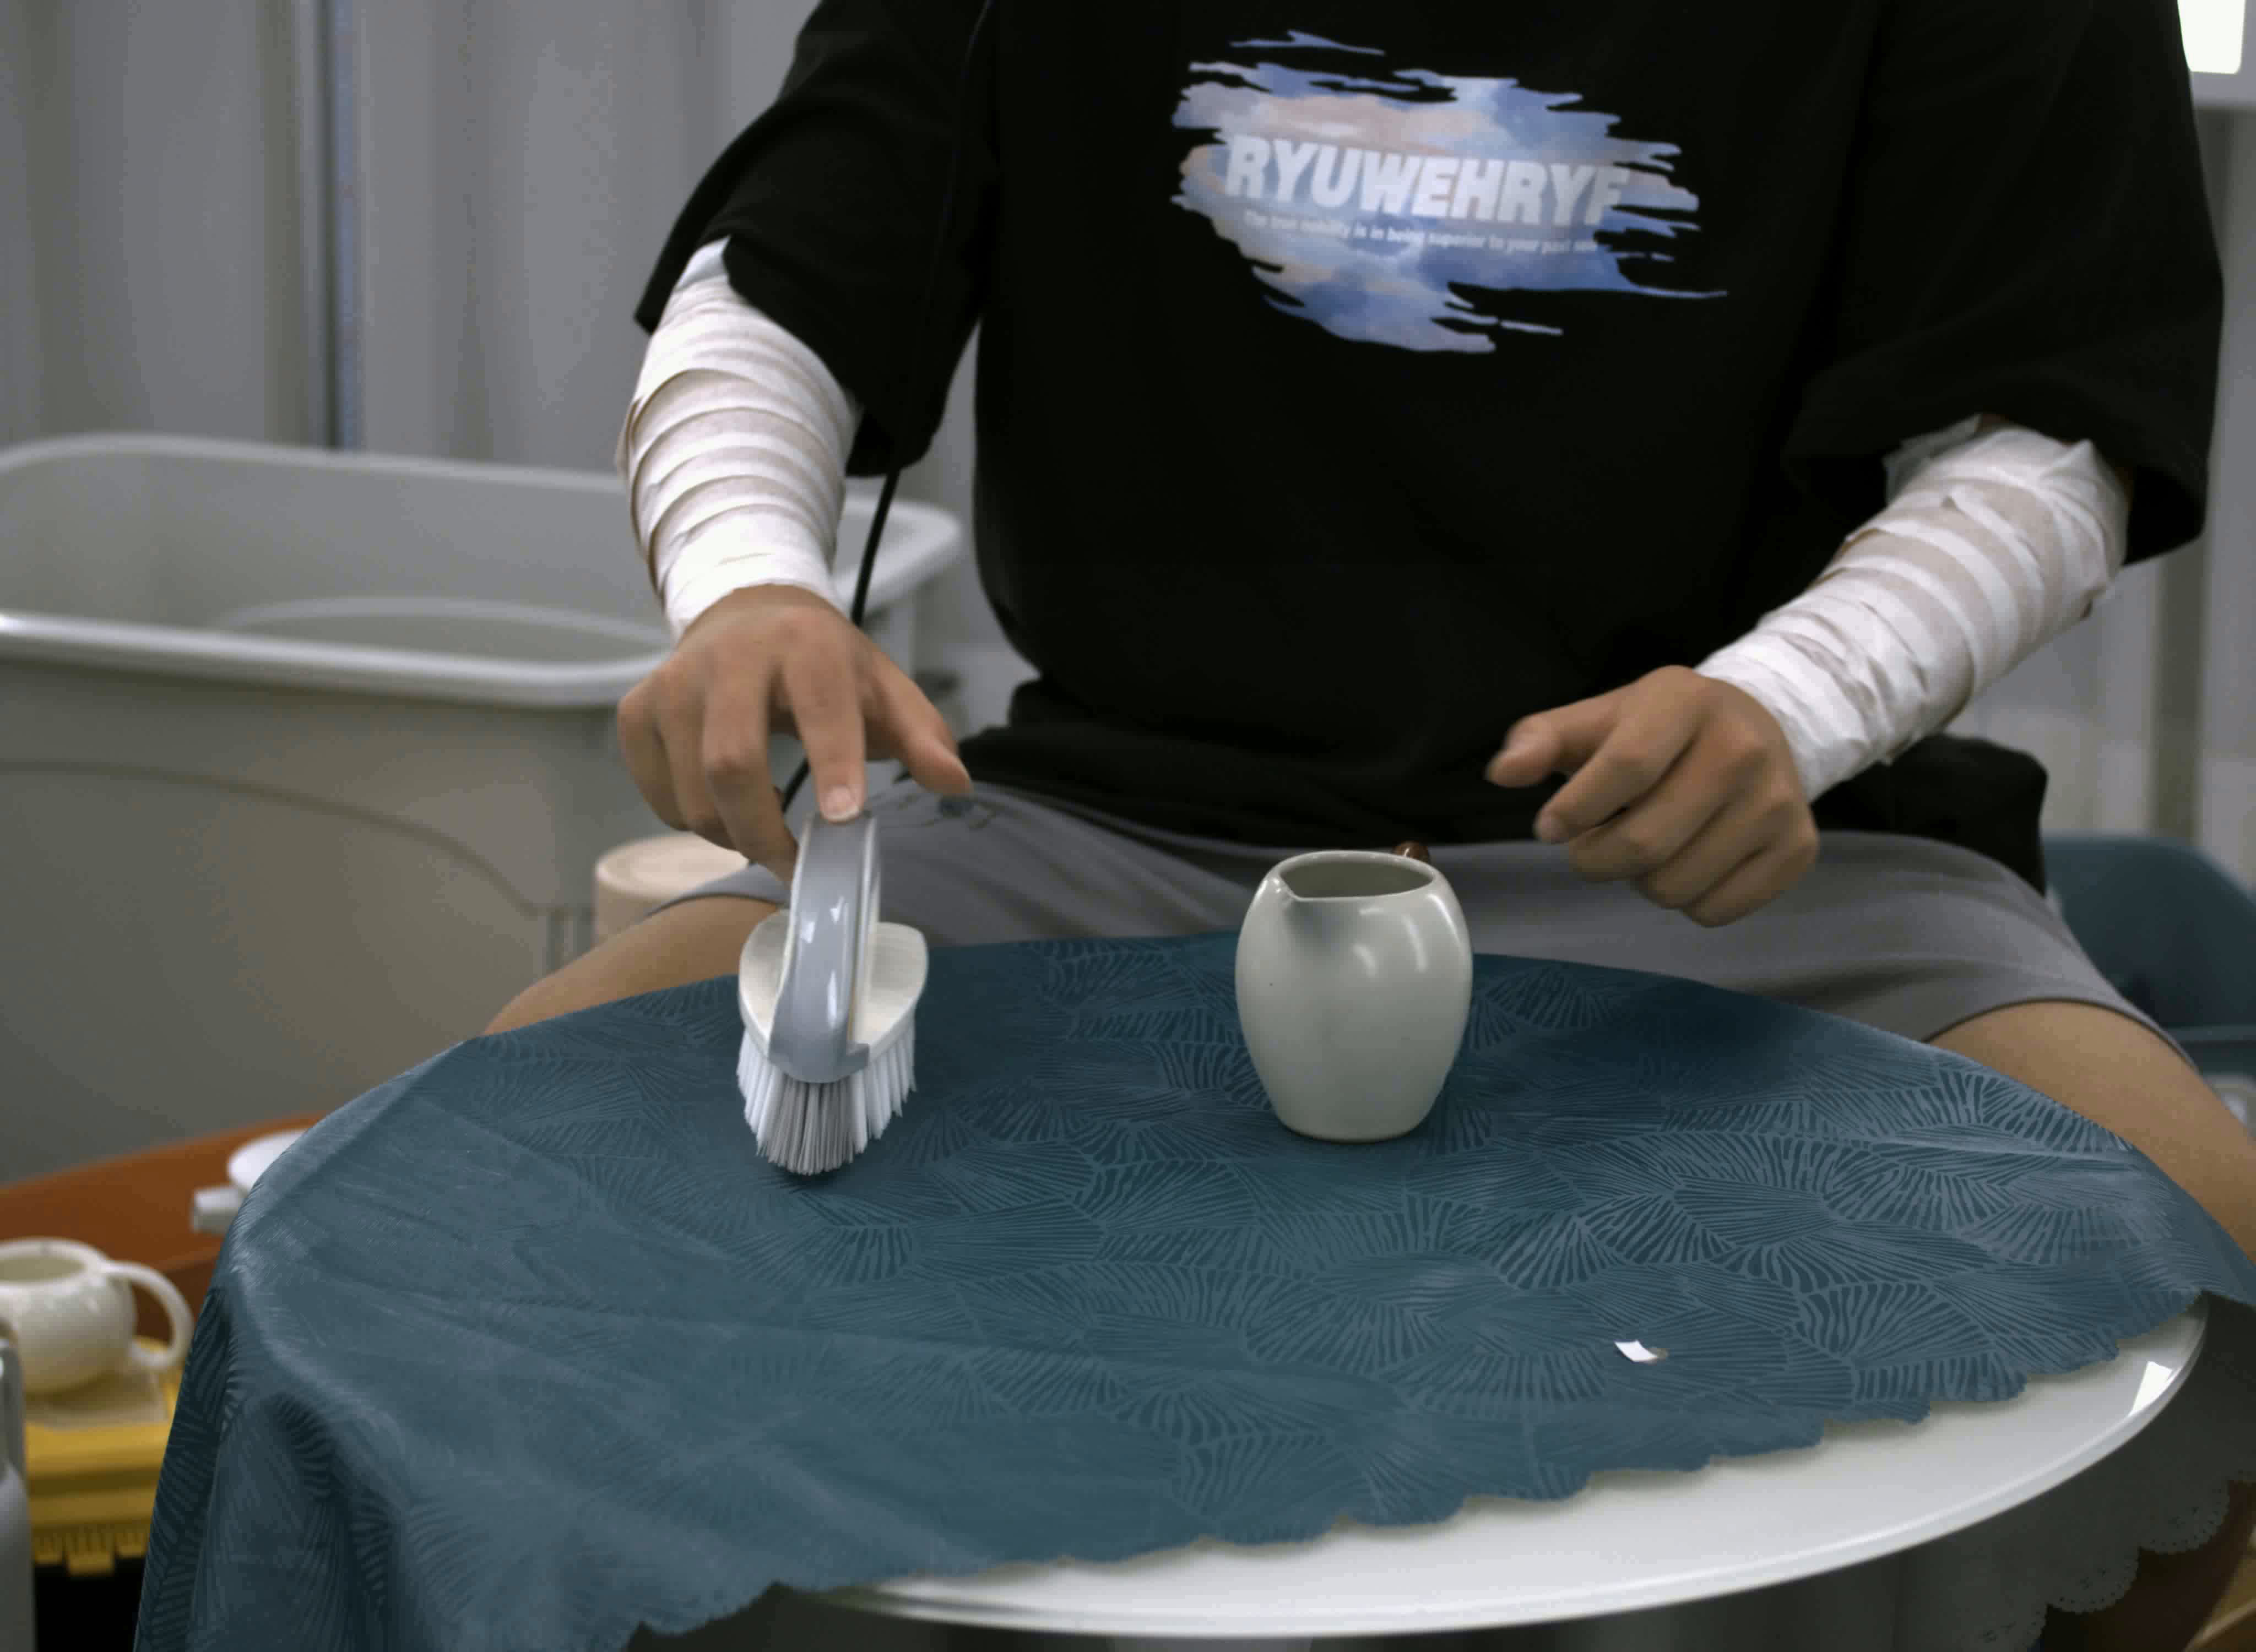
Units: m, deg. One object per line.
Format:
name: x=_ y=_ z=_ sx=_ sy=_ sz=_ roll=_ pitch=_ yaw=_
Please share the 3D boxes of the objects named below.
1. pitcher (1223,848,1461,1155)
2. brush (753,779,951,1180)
pitcher: x=0.071 y=0.054 z=1.677 sx=0.075 sy=0.088 sz=0.119 roll=12 pitch=20 yaw=23
brush: x=-0.092 y=0.043 z=1.692 sx=0.061 sy=0.095 sz=0.174 roll=0 pitch=20 yaw=4
